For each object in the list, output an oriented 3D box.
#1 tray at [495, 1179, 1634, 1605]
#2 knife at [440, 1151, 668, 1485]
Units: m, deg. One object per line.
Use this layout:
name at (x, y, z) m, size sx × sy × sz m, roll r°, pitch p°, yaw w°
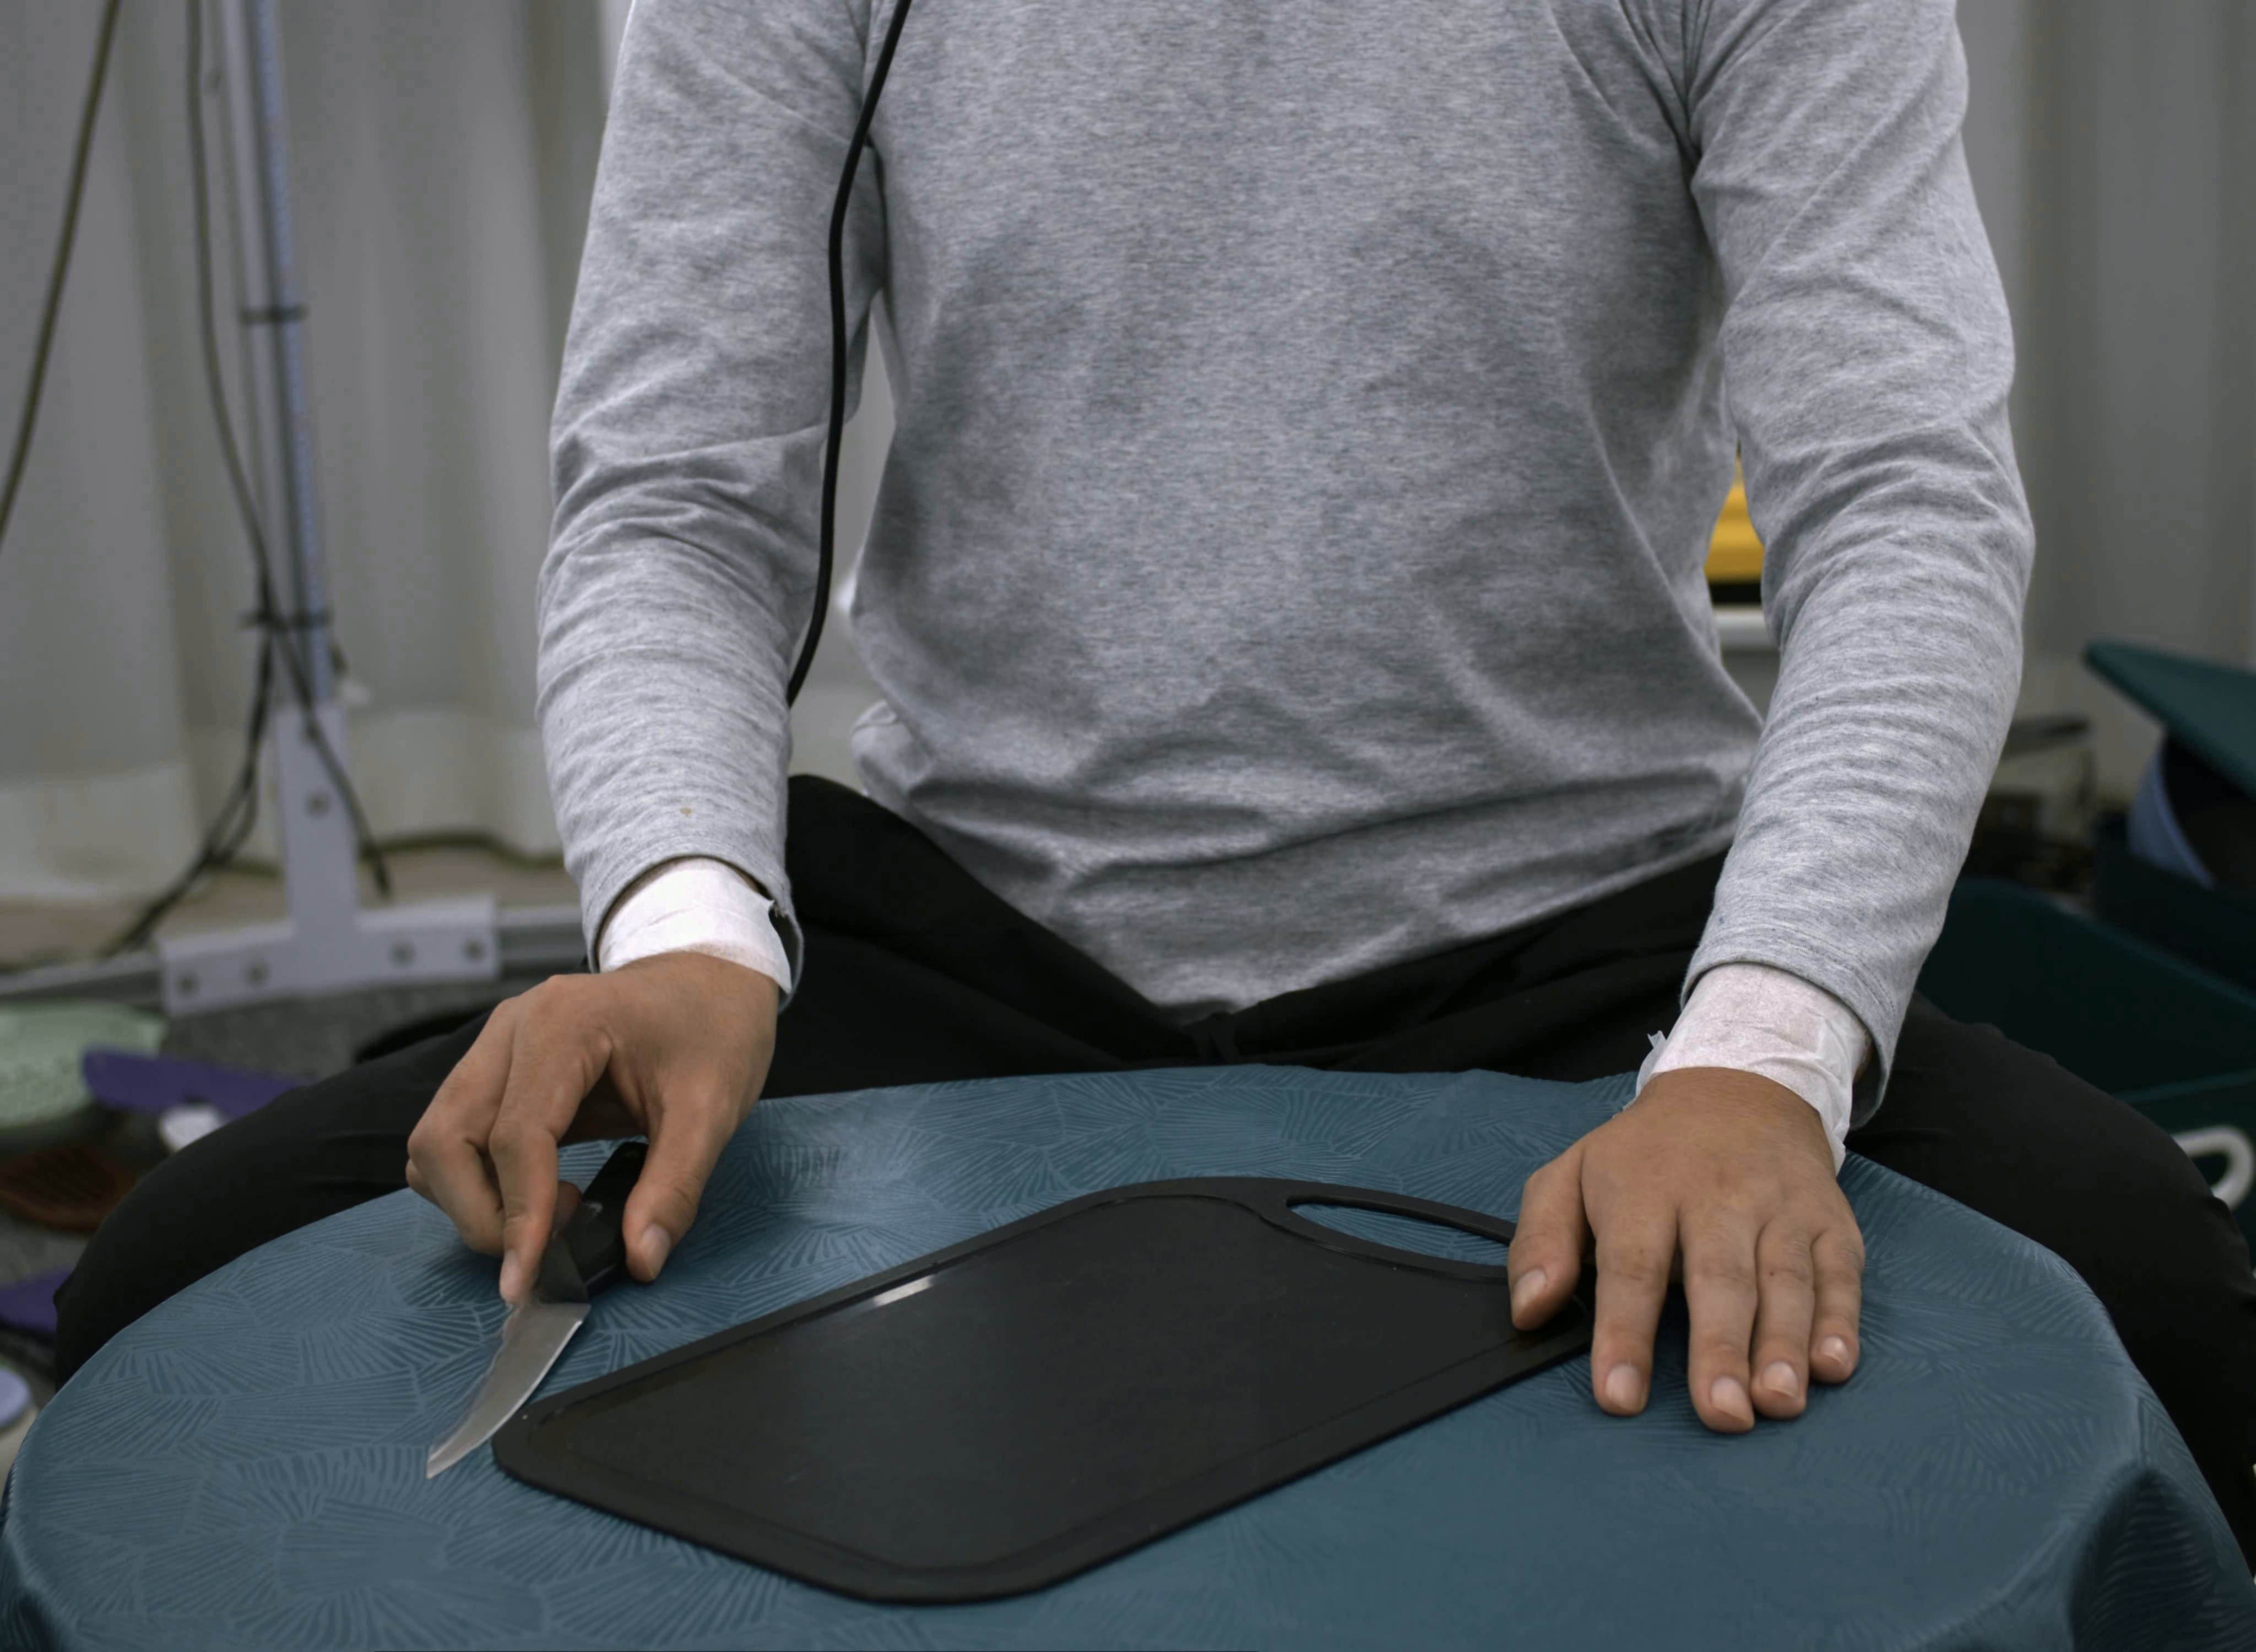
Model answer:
tray at (-0.009, 0.152, 1.566) m, size 0.212 × 0.010 × 0.325 m, roll 12°, pitch 20°, yaw 43°
knife at (-0.172, 0.144, 1.616) m, size 0.024 × 0.016 × 0.240 m, roll 4°, pitch 18°, yaw 8°
